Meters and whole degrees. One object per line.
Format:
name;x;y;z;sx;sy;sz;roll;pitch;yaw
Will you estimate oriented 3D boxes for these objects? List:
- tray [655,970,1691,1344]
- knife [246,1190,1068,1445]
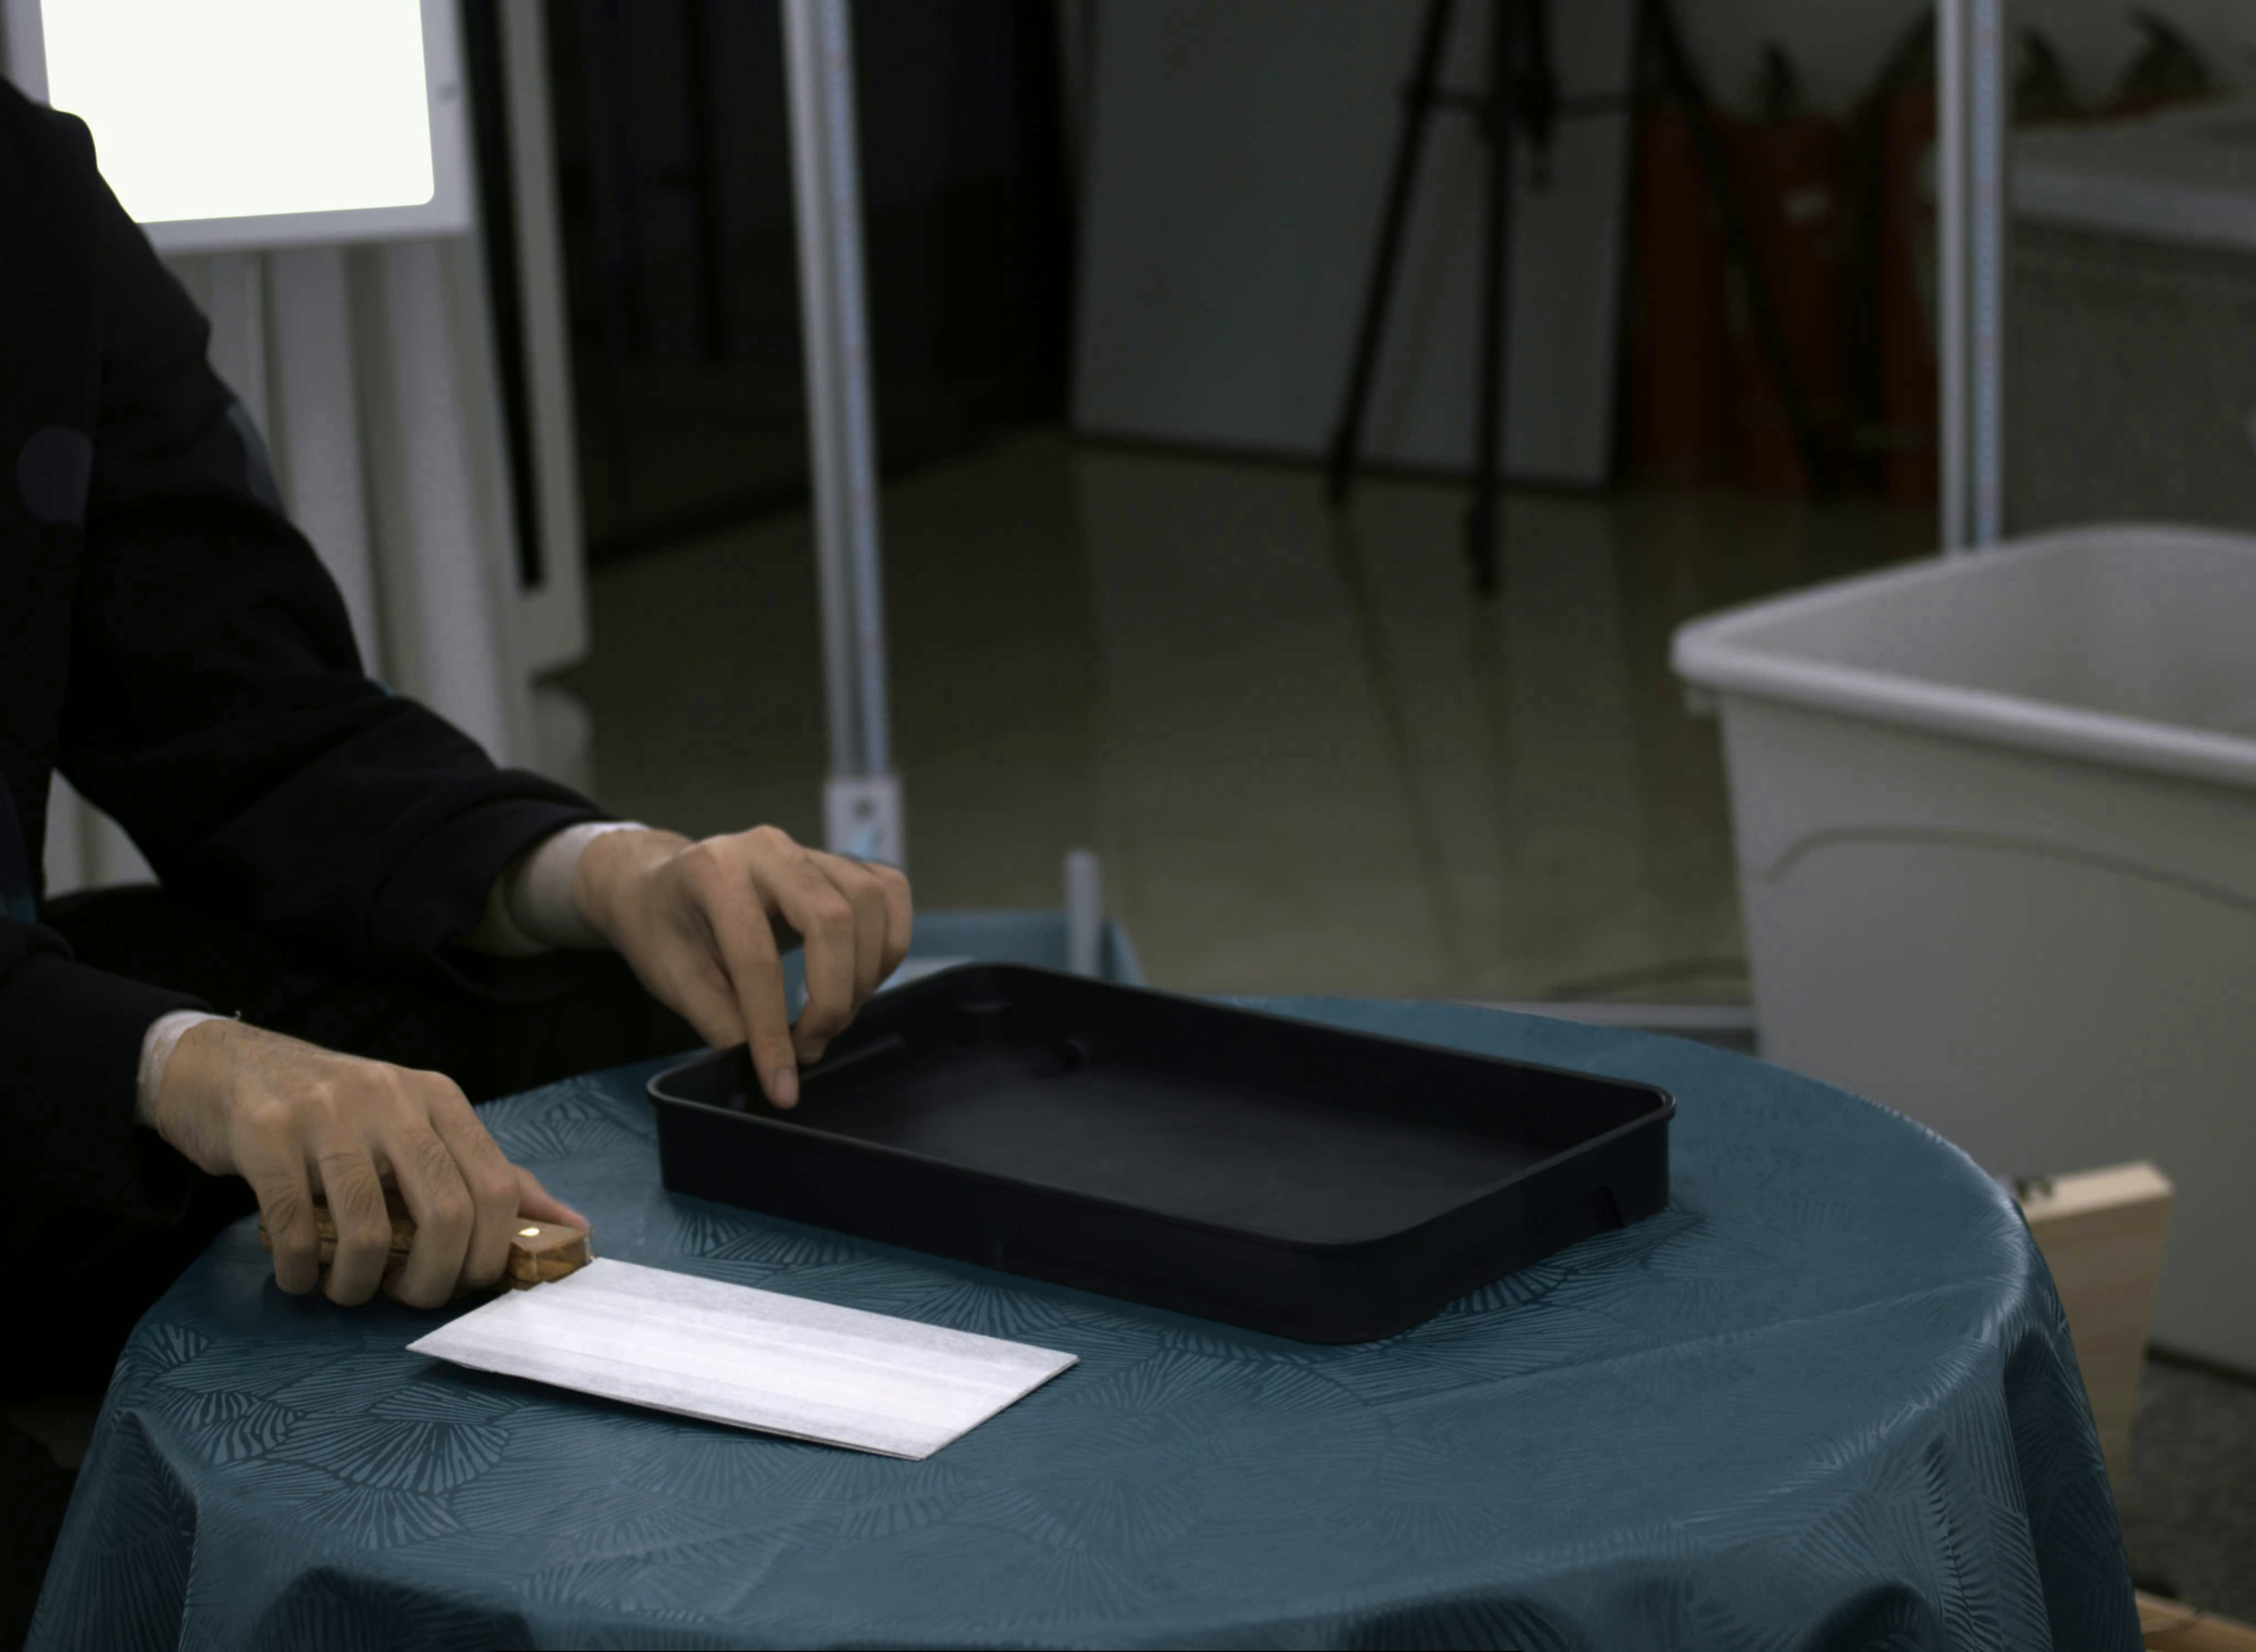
tray;0.013;0.104;1.761;0.320;0.037;0.181;7;18;40
knife;-0.163;0.153;1.659;0.307;0.021;0.091;8;19;32
